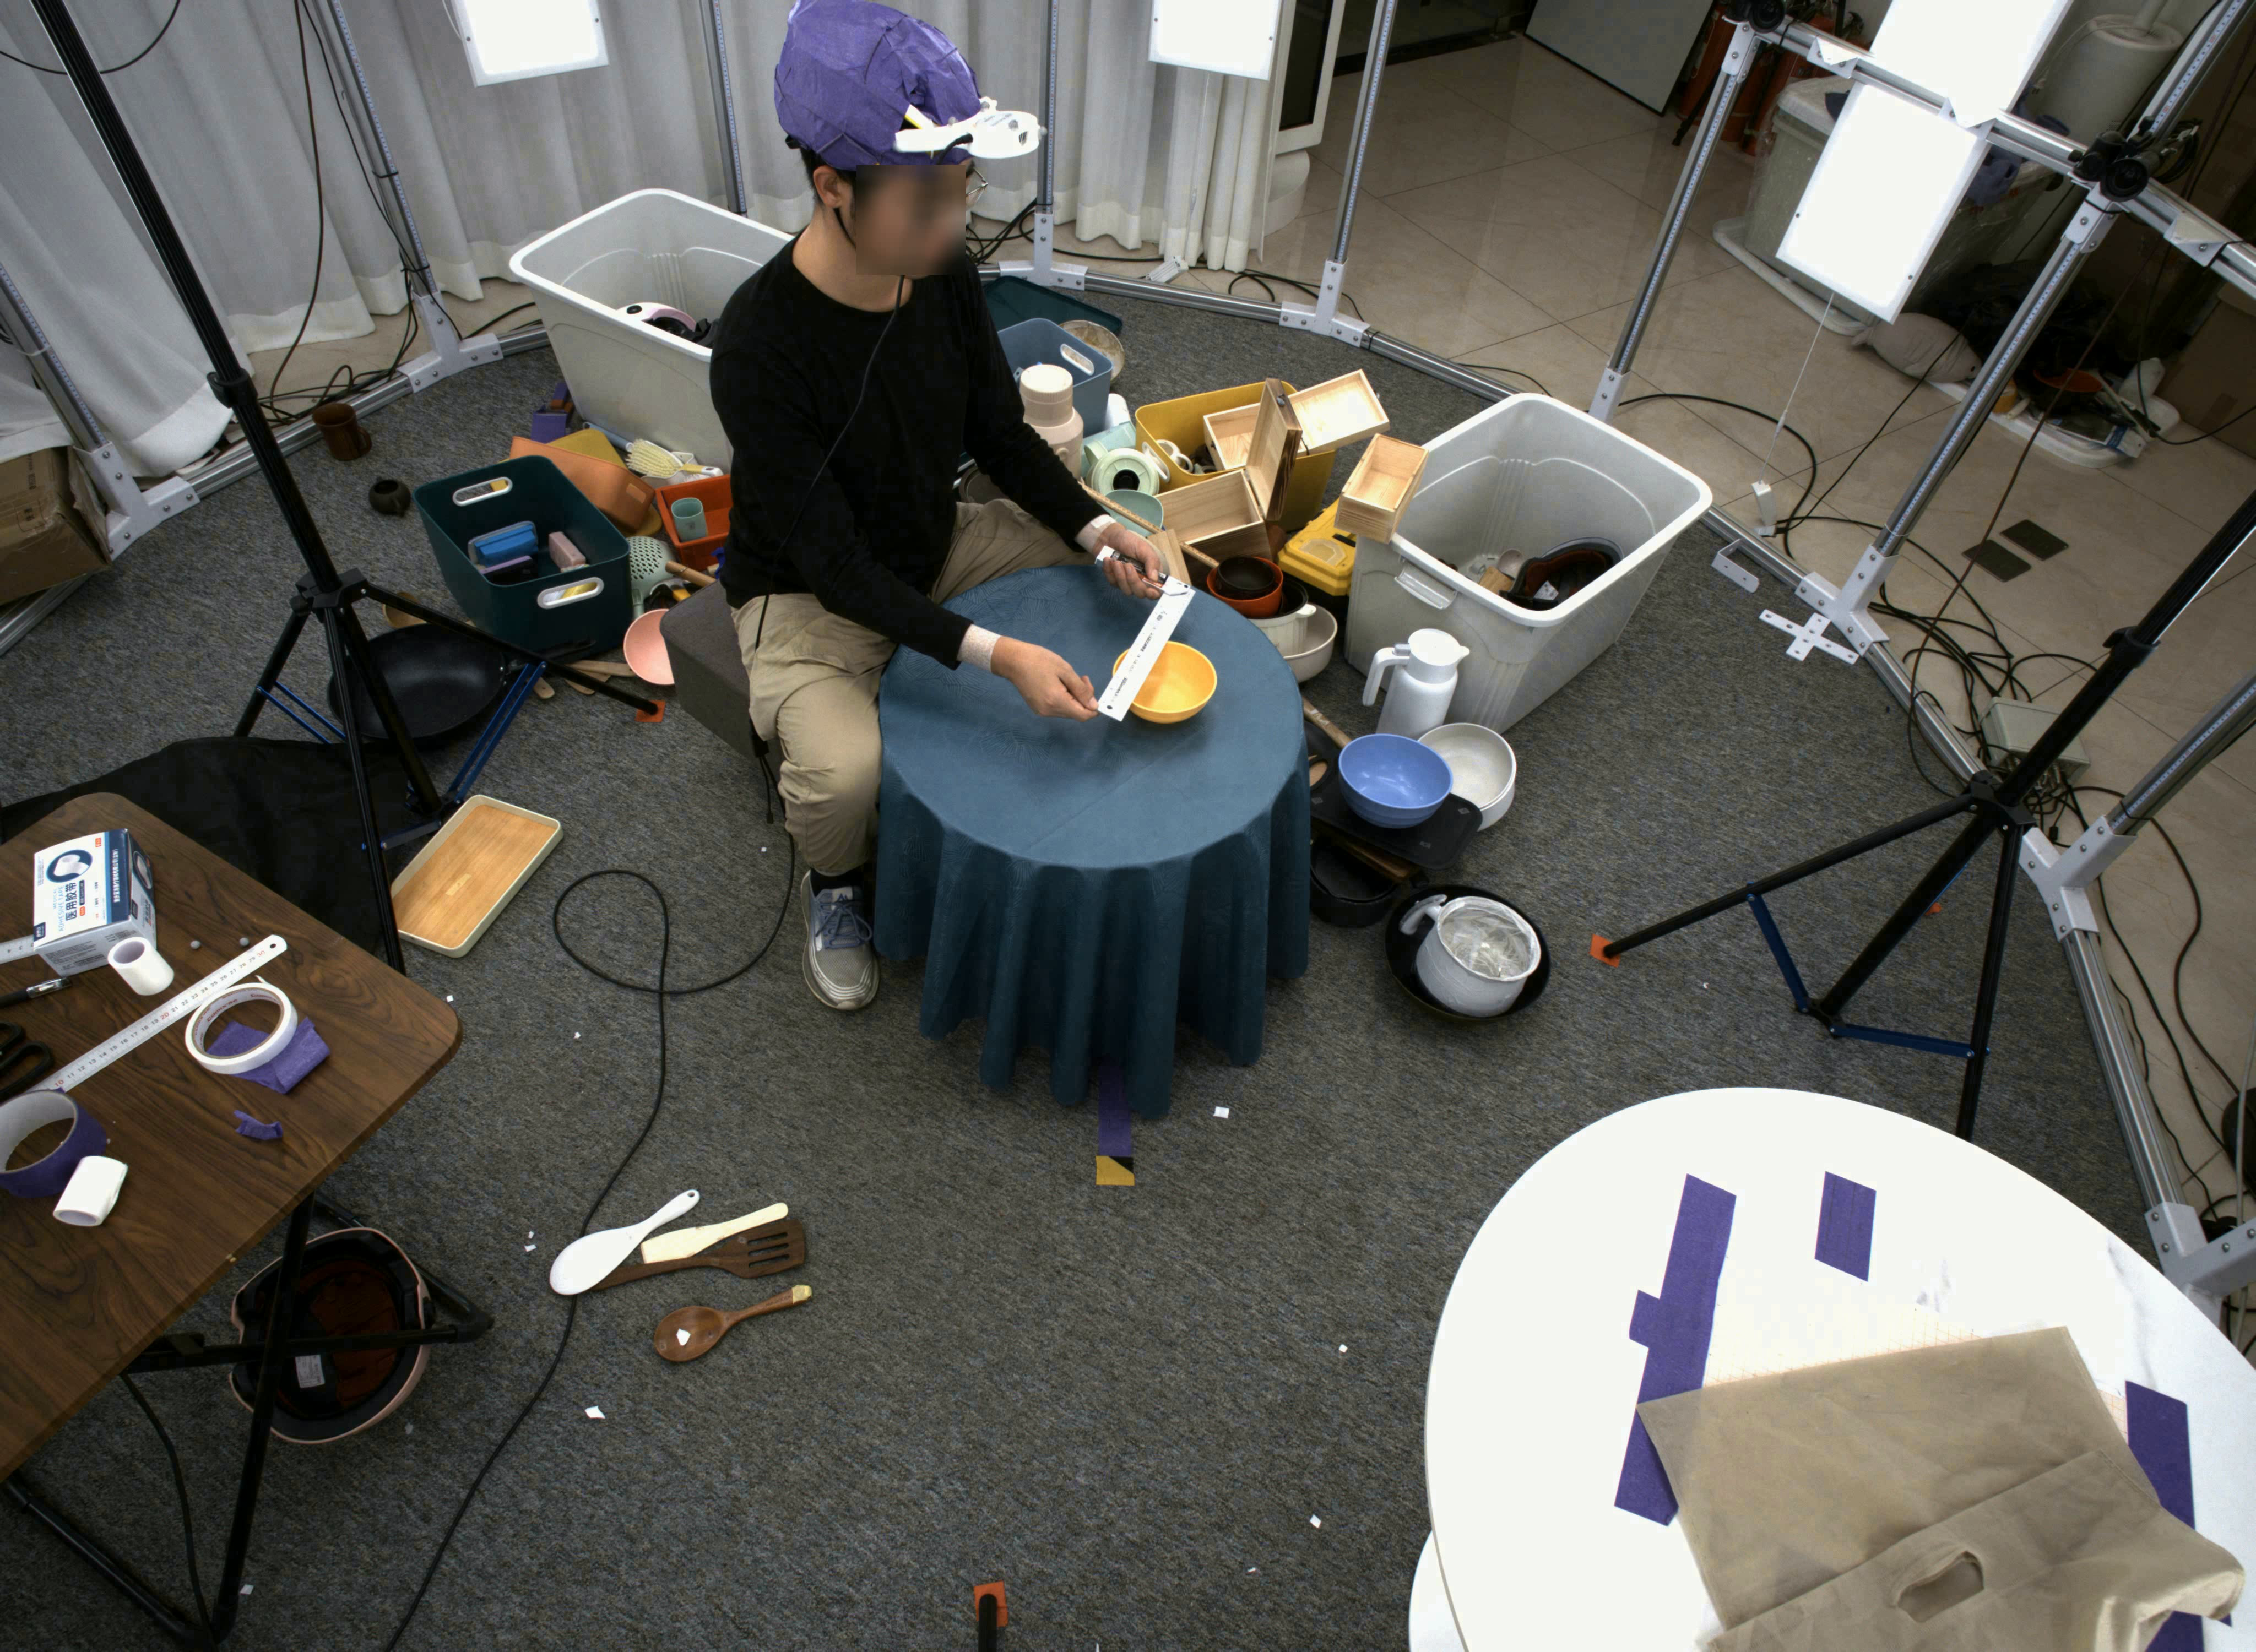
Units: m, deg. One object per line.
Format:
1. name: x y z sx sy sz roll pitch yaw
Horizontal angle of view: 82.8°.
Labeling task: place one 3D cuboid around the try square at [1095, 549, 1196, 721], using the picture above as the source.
1. try square: -0.021 -0.276 1.816 0.152 0.015 0.319 24 49 5

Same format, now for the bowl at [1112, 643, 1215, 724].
1. bowl: 0.047 -0.188 1.800 0.145 0.058 0.149 3 46 -3
